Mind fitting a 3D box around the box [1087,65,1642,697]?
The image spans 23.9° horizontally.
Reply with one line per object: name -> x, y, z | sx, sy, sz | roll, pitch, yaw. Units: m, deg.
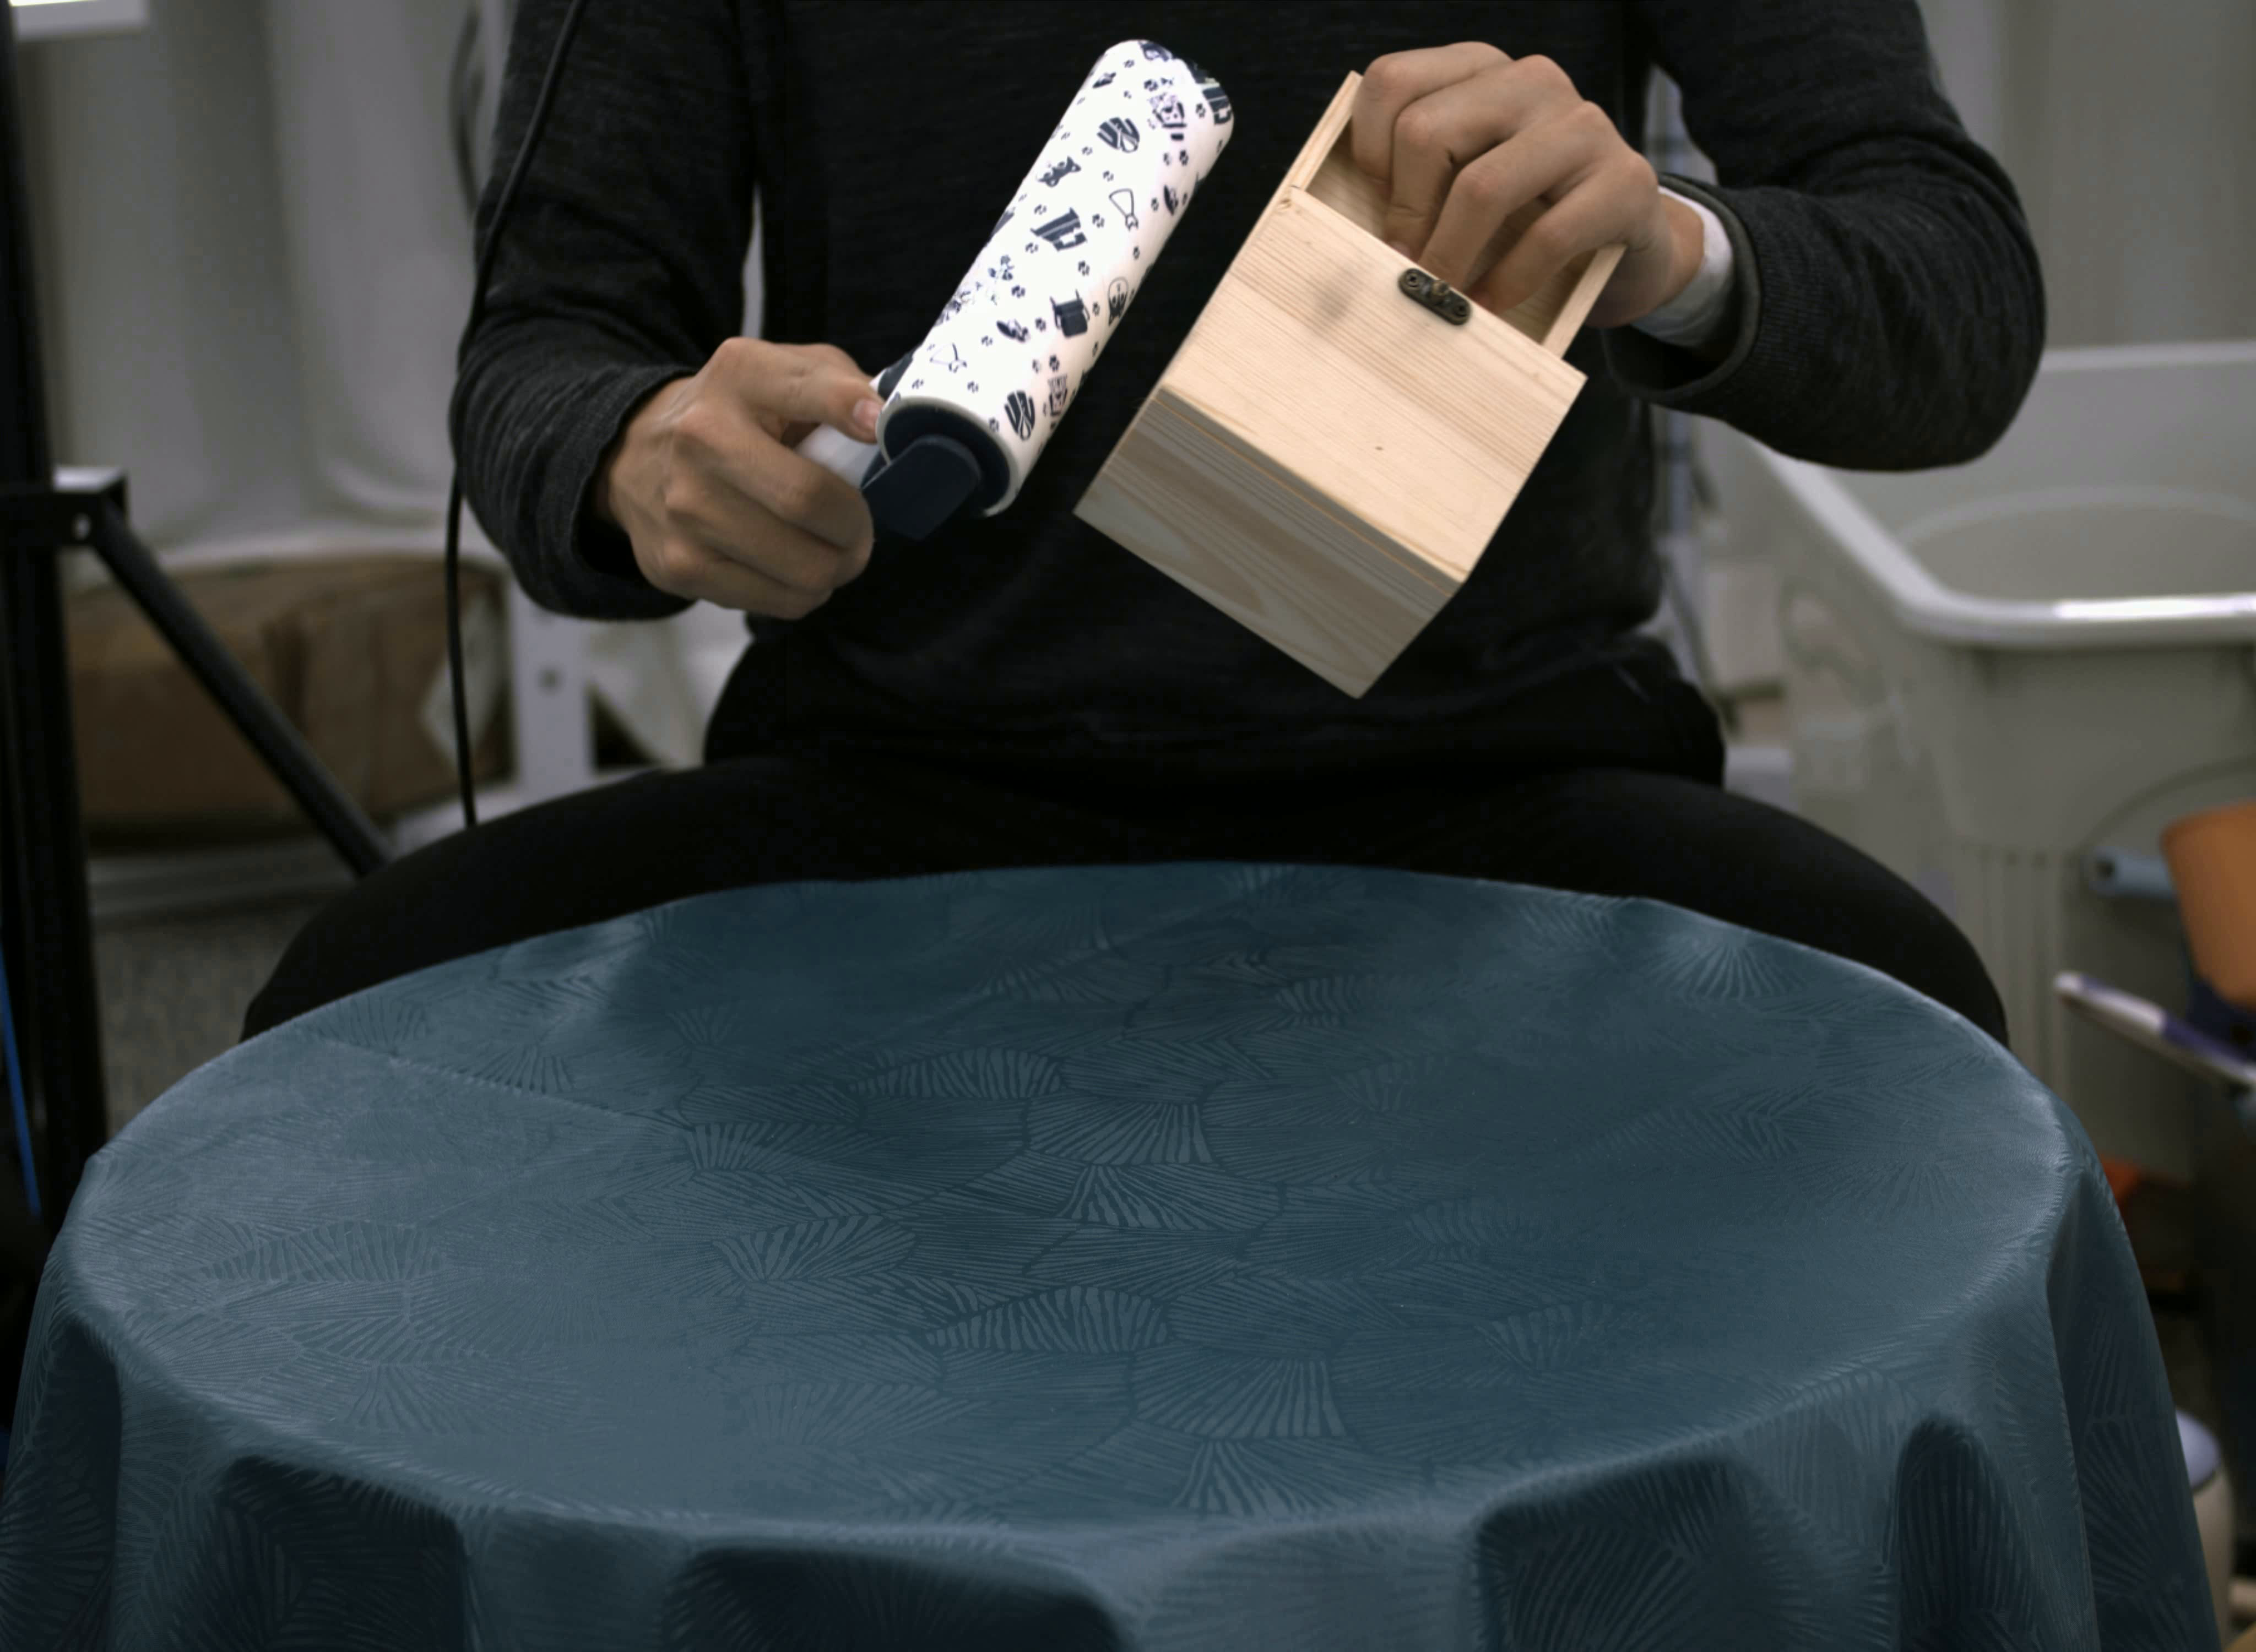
box -> 0.083, -0.148, 1.553 | 0.102, 0.184, 0.134 | 33, -23, -2

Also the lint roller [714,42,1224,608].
lint roller -> -0.073, -0.128, 1.660 | 0.250, 0.050, 0.176 | -33, 24, 52
